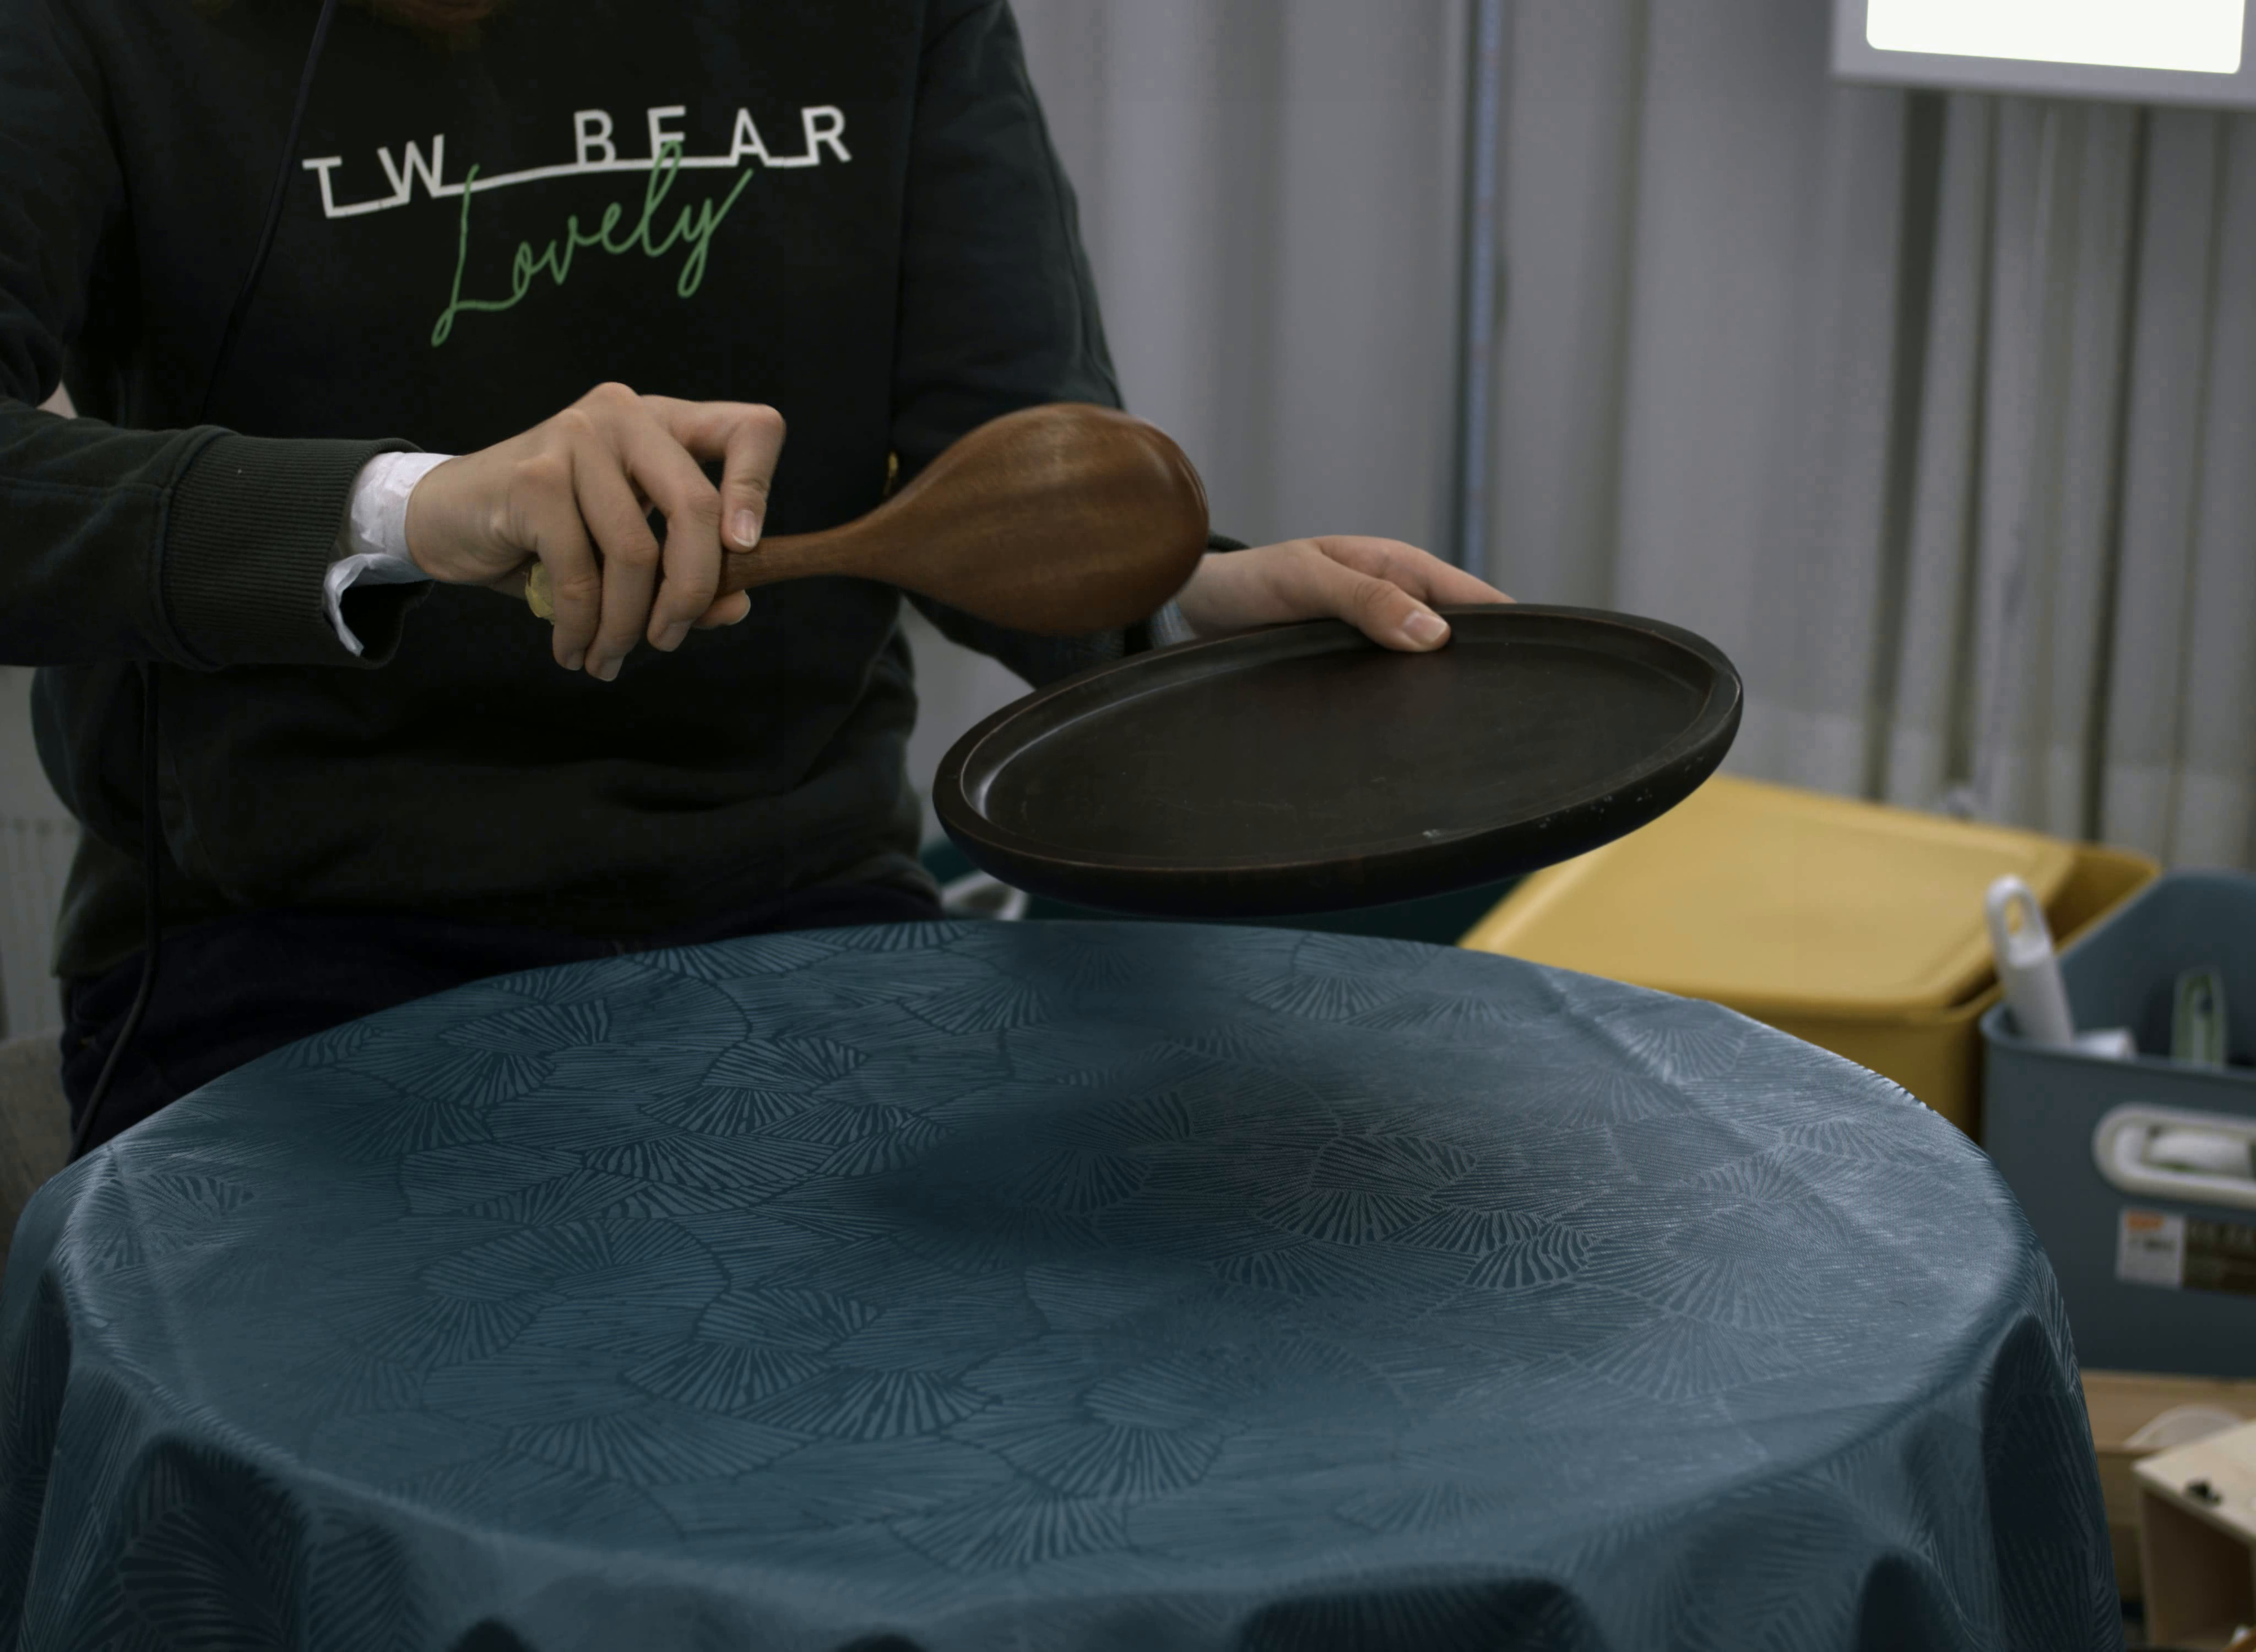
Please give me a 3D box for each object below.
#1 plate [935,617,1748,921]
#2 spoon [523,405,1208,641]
[{"bbox_3d":[0.066,-0.021,1.627,0.254,0.029,0.253,-6,19,3],"label":"plate"},{"bbox_3d":[-0.081,-0.085,1.593,0.214,0.076,0.017,-4,22,14],"label":"spoon"}]
